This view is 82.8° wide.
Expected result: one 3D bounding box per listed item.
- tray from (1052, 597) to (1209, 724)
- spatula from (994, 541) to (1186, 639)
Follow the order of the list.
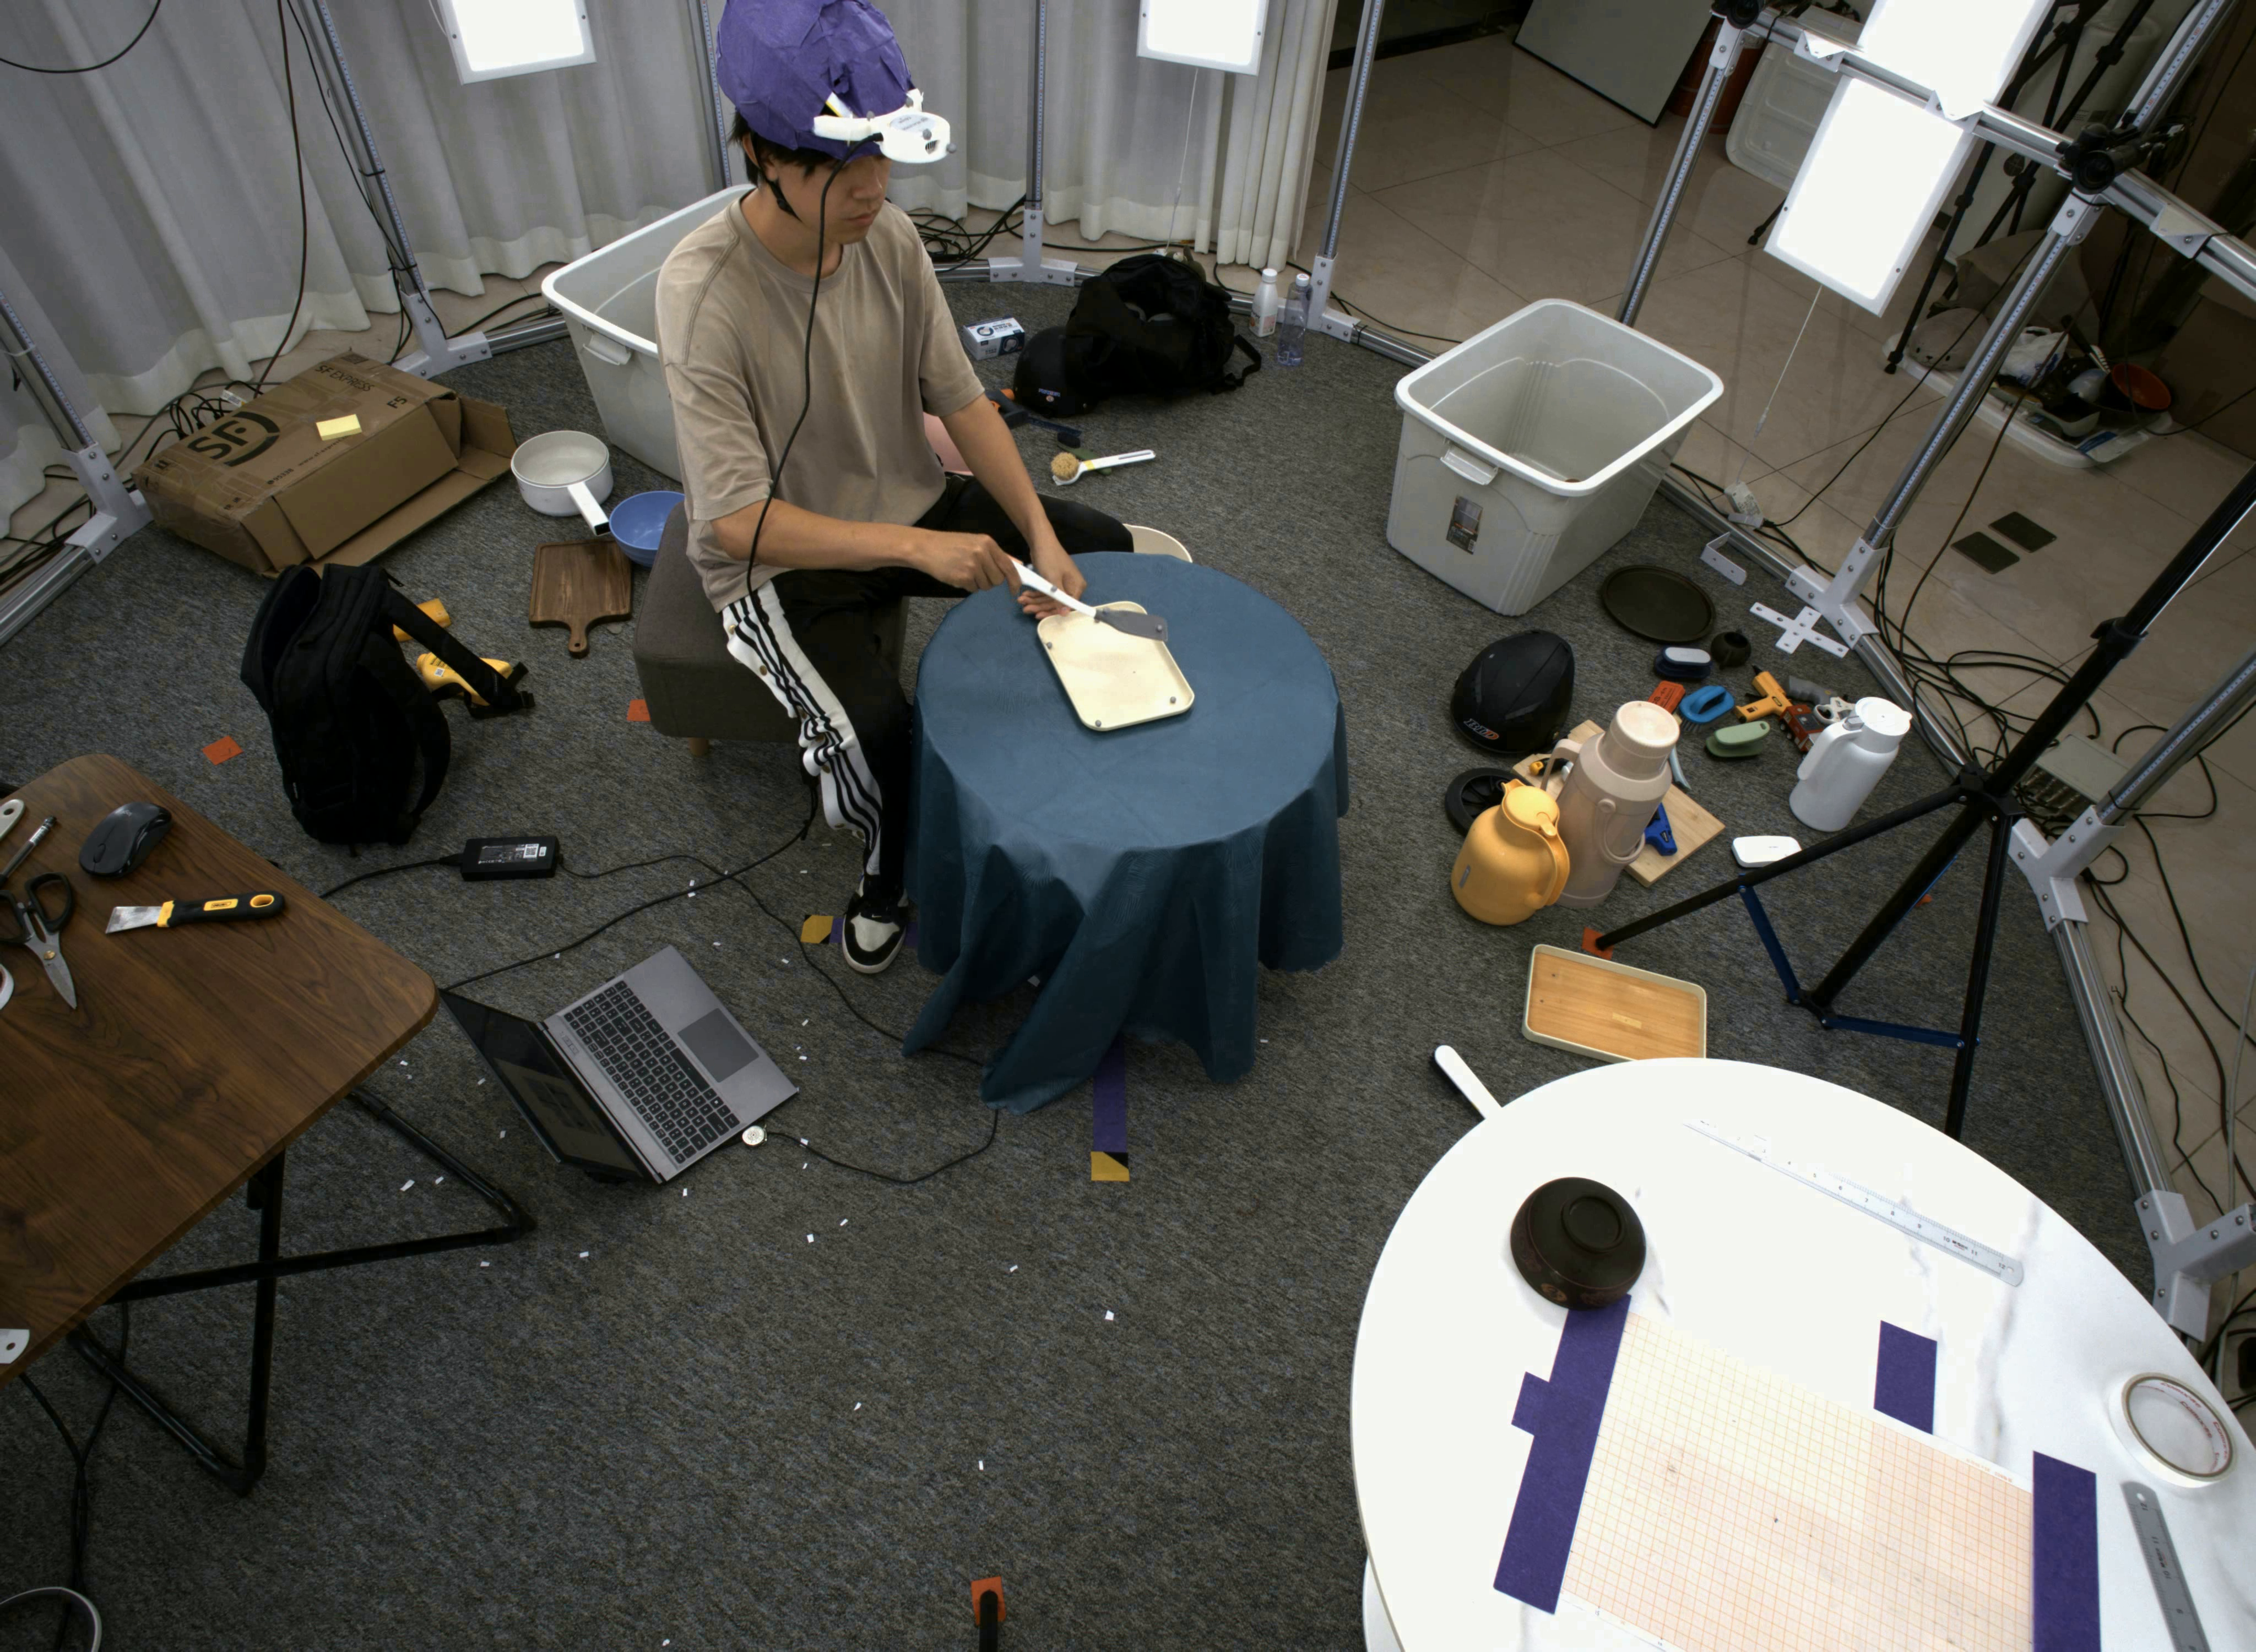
[{"bbox_3d":[0.001,-0.240,1.851,0.171,0.017,0.245,-13,51,-18],"label":"tray"},{"bbox_3d":[-0.048,-0.318,1.754,0.285,0.032,0.060,20,38,-23],"label":"spatula"}]
